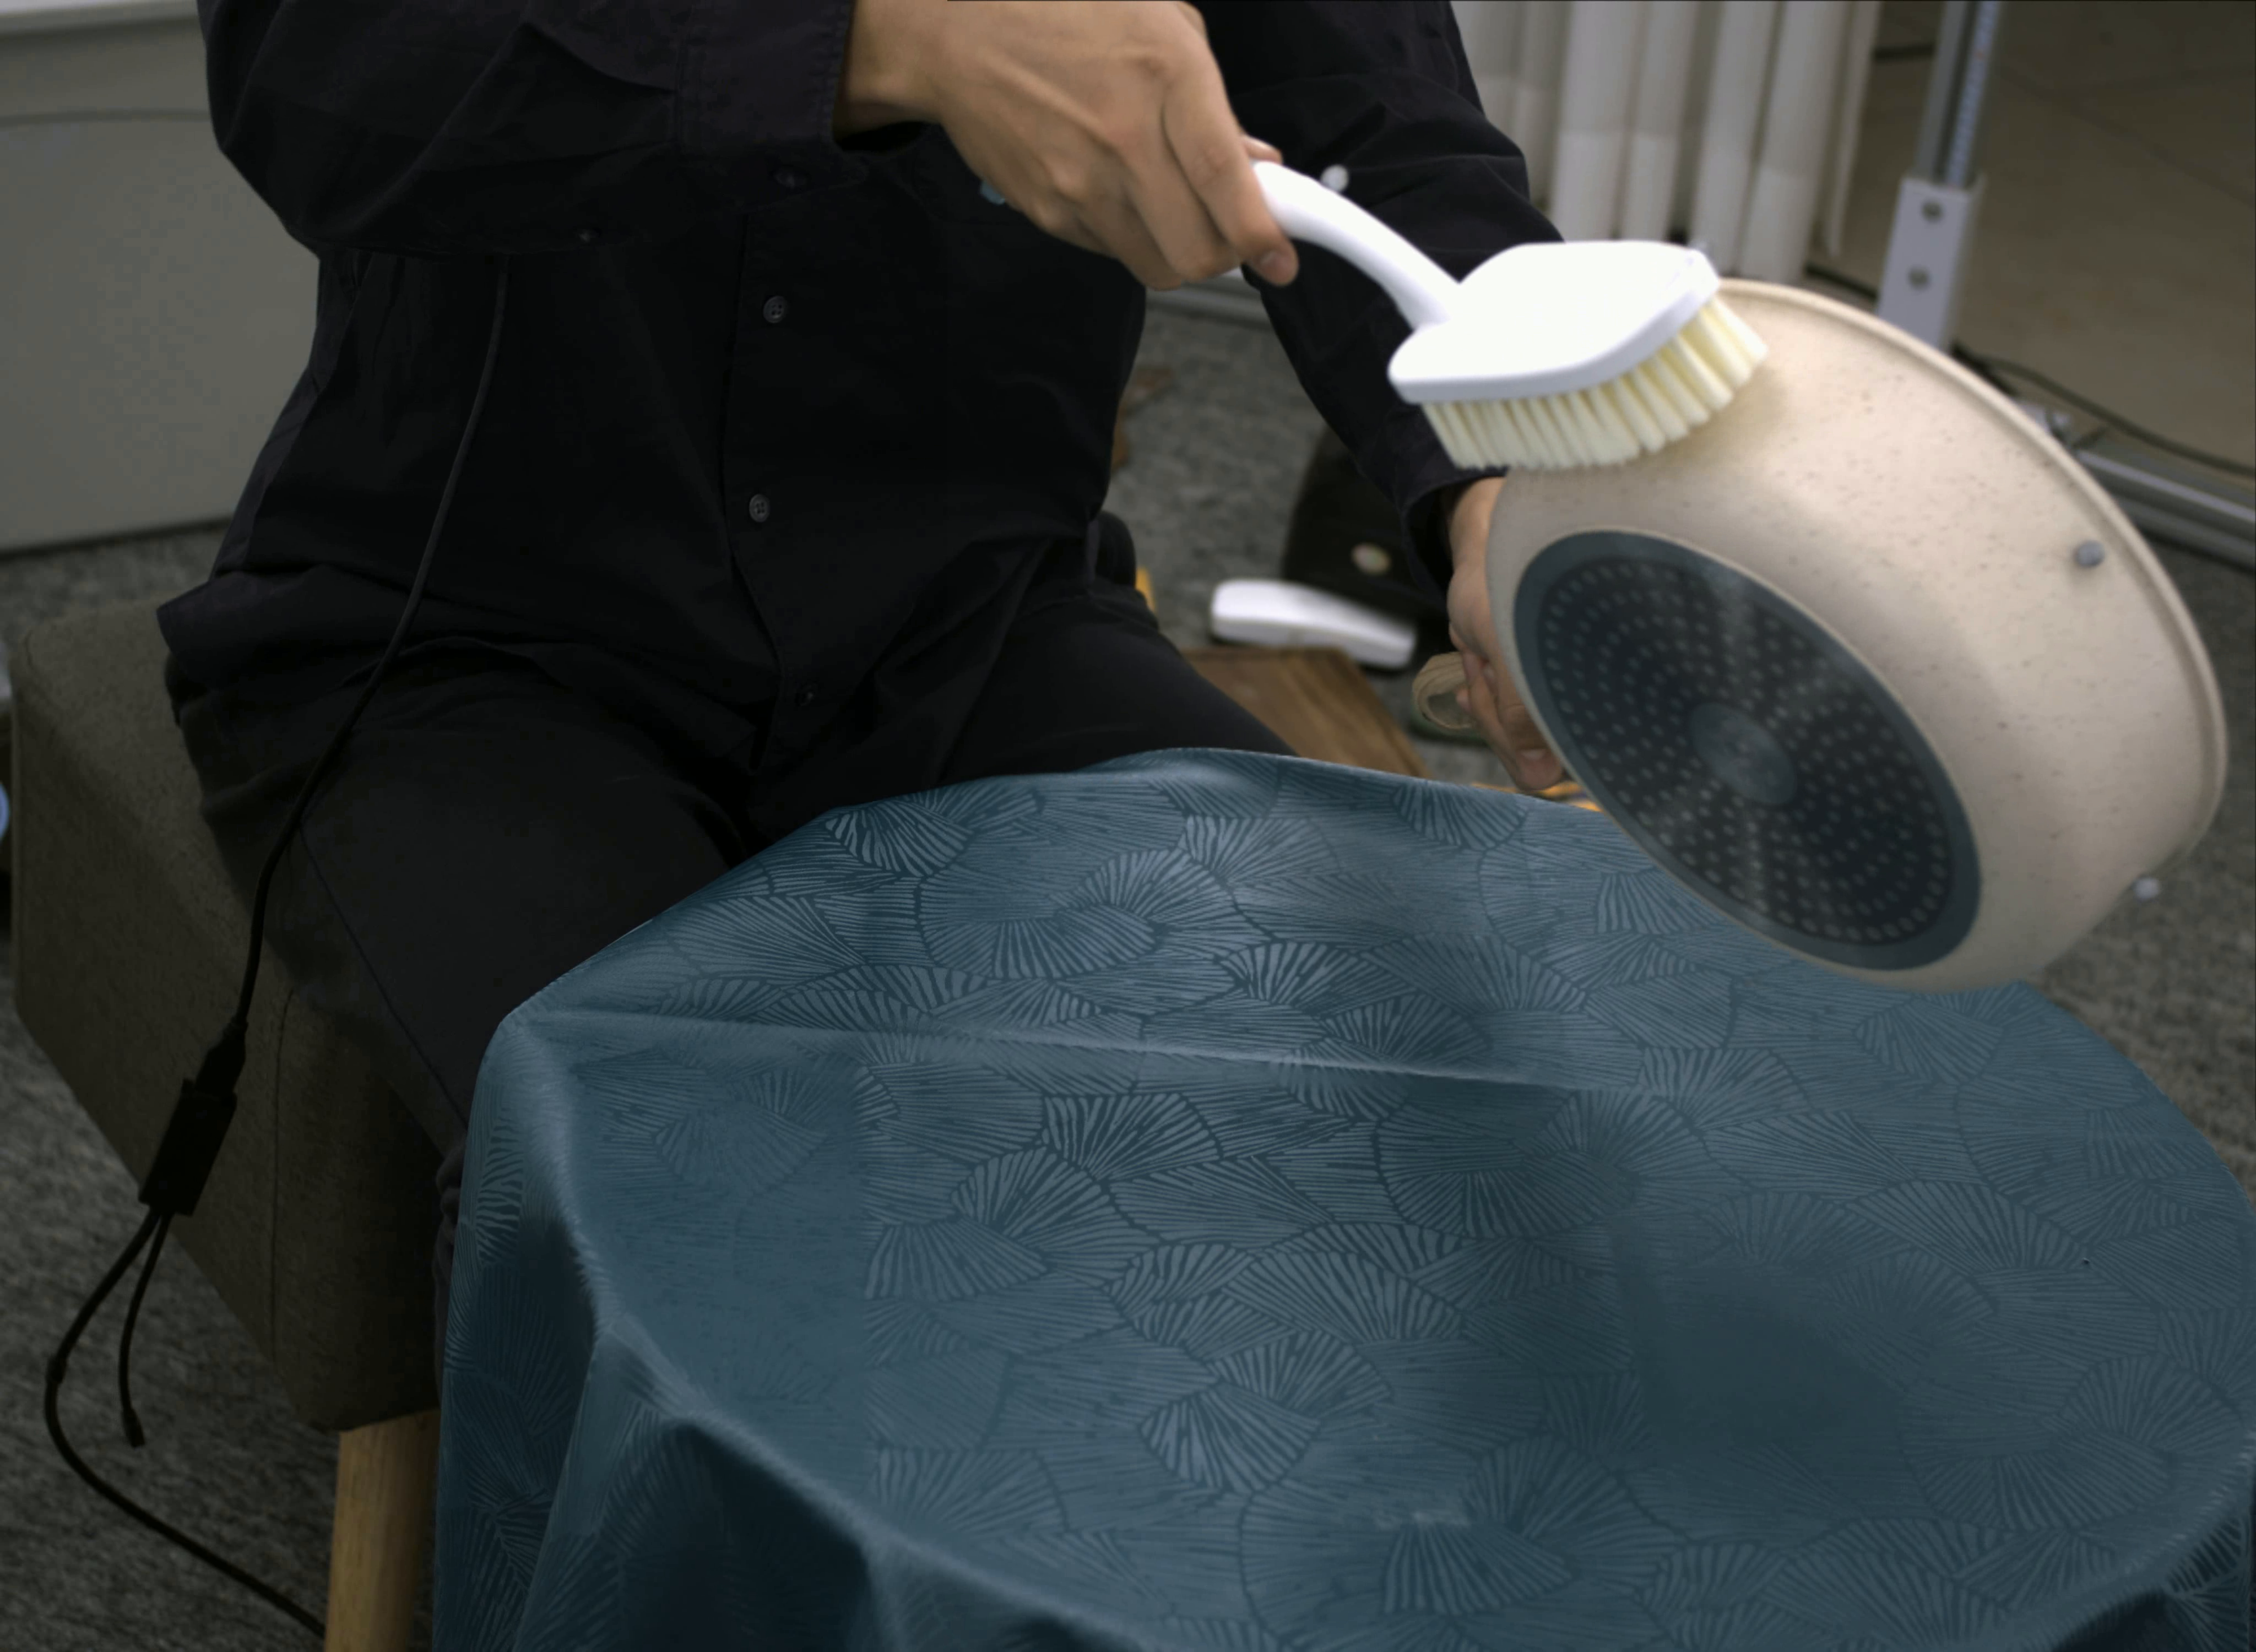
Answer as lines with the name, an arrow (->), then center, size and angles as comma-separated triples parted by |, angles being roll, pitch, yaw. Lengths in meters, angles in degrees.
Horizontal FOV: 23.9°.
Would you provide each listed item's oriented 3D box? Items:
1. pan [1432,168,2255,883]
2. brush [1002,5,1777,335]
pan -> 0.198, -0.078, 1.786 | 0.102, 0.262, 0.436 | -47, 14, -24
brush -> 0.084, -0.208, 1.716 | 0.082, 0.084, 0.328 | -7, 16, -42
